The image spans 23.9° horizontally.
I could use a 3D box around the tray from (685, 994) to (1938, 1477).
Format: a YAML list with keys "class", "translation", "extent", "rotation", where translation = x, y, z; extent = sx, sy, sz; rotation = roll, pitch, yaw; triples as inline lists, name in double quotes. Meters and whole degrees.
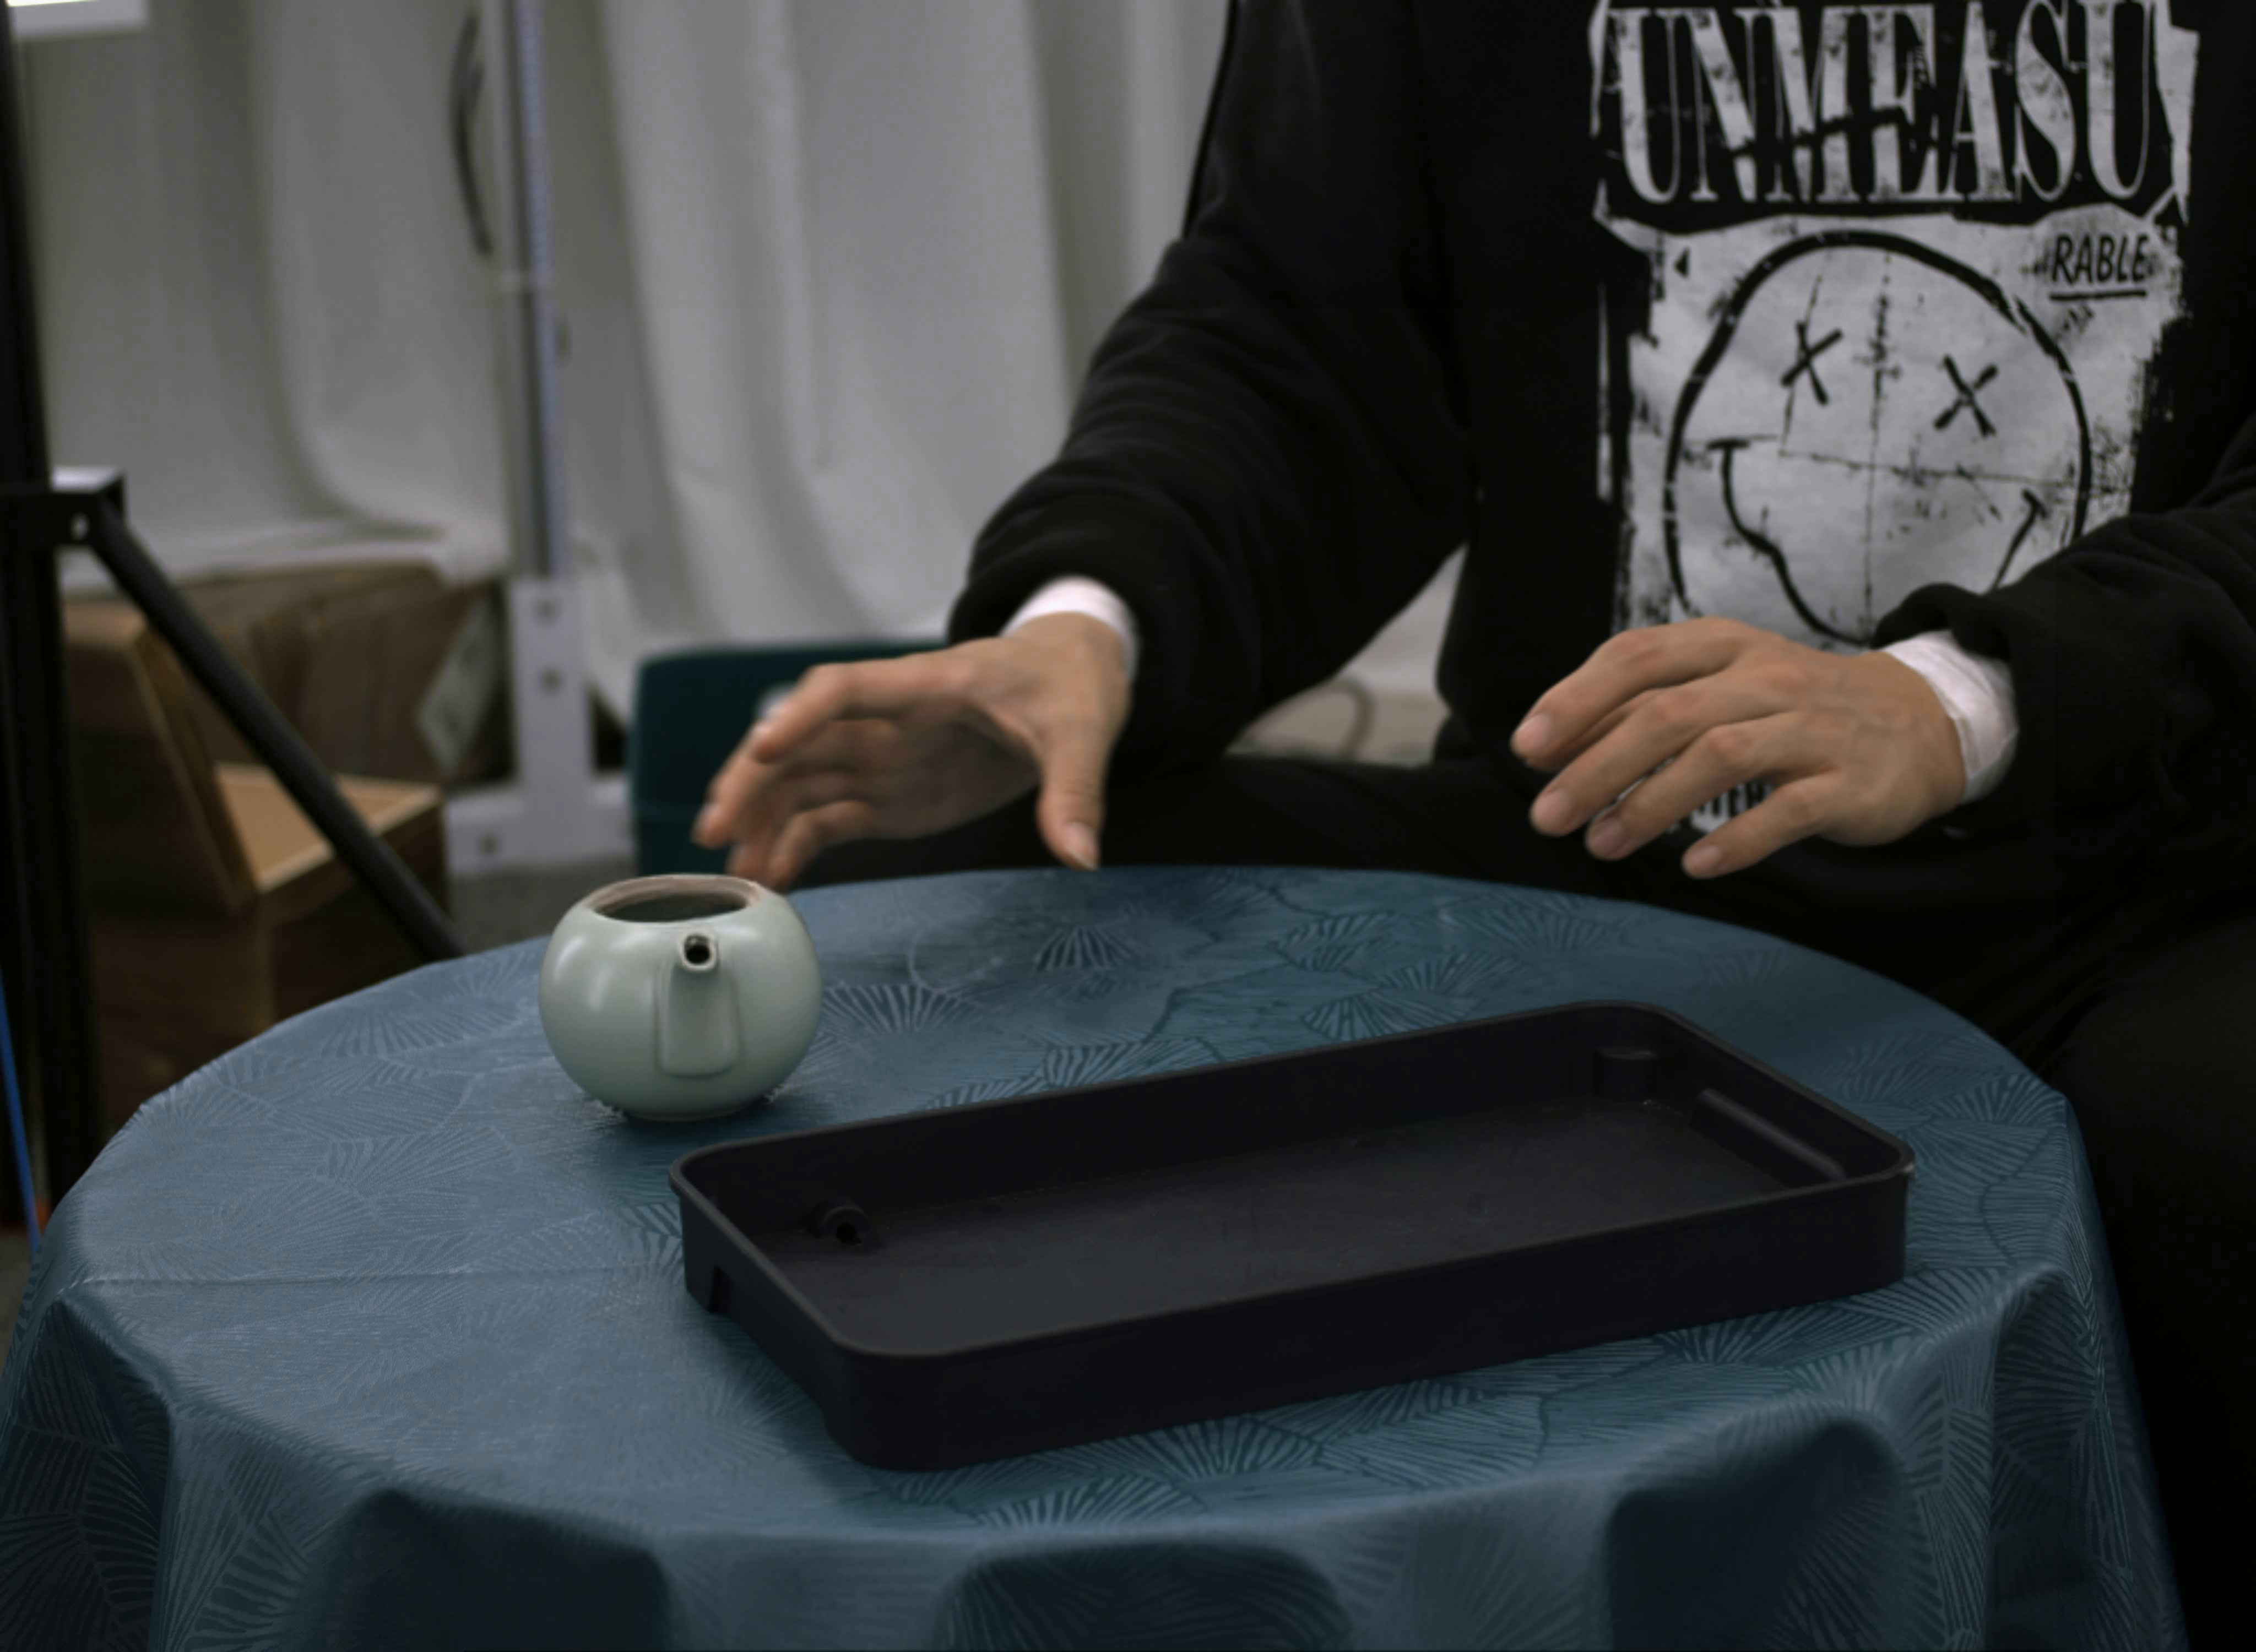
- class: "tray"
  translation: [0.051, 0.109, 1.478]
  extent: [0.312, 0.037, 0.188]
  rotation: [-9, 17, -21]

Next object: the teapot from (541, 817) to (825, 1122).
- class: "teapot"
  translation: [-0.137, 0.050, 1.648]
  extent: [0.087, 0.074, 0.145]
  rotation: [-4, 17, -7]
